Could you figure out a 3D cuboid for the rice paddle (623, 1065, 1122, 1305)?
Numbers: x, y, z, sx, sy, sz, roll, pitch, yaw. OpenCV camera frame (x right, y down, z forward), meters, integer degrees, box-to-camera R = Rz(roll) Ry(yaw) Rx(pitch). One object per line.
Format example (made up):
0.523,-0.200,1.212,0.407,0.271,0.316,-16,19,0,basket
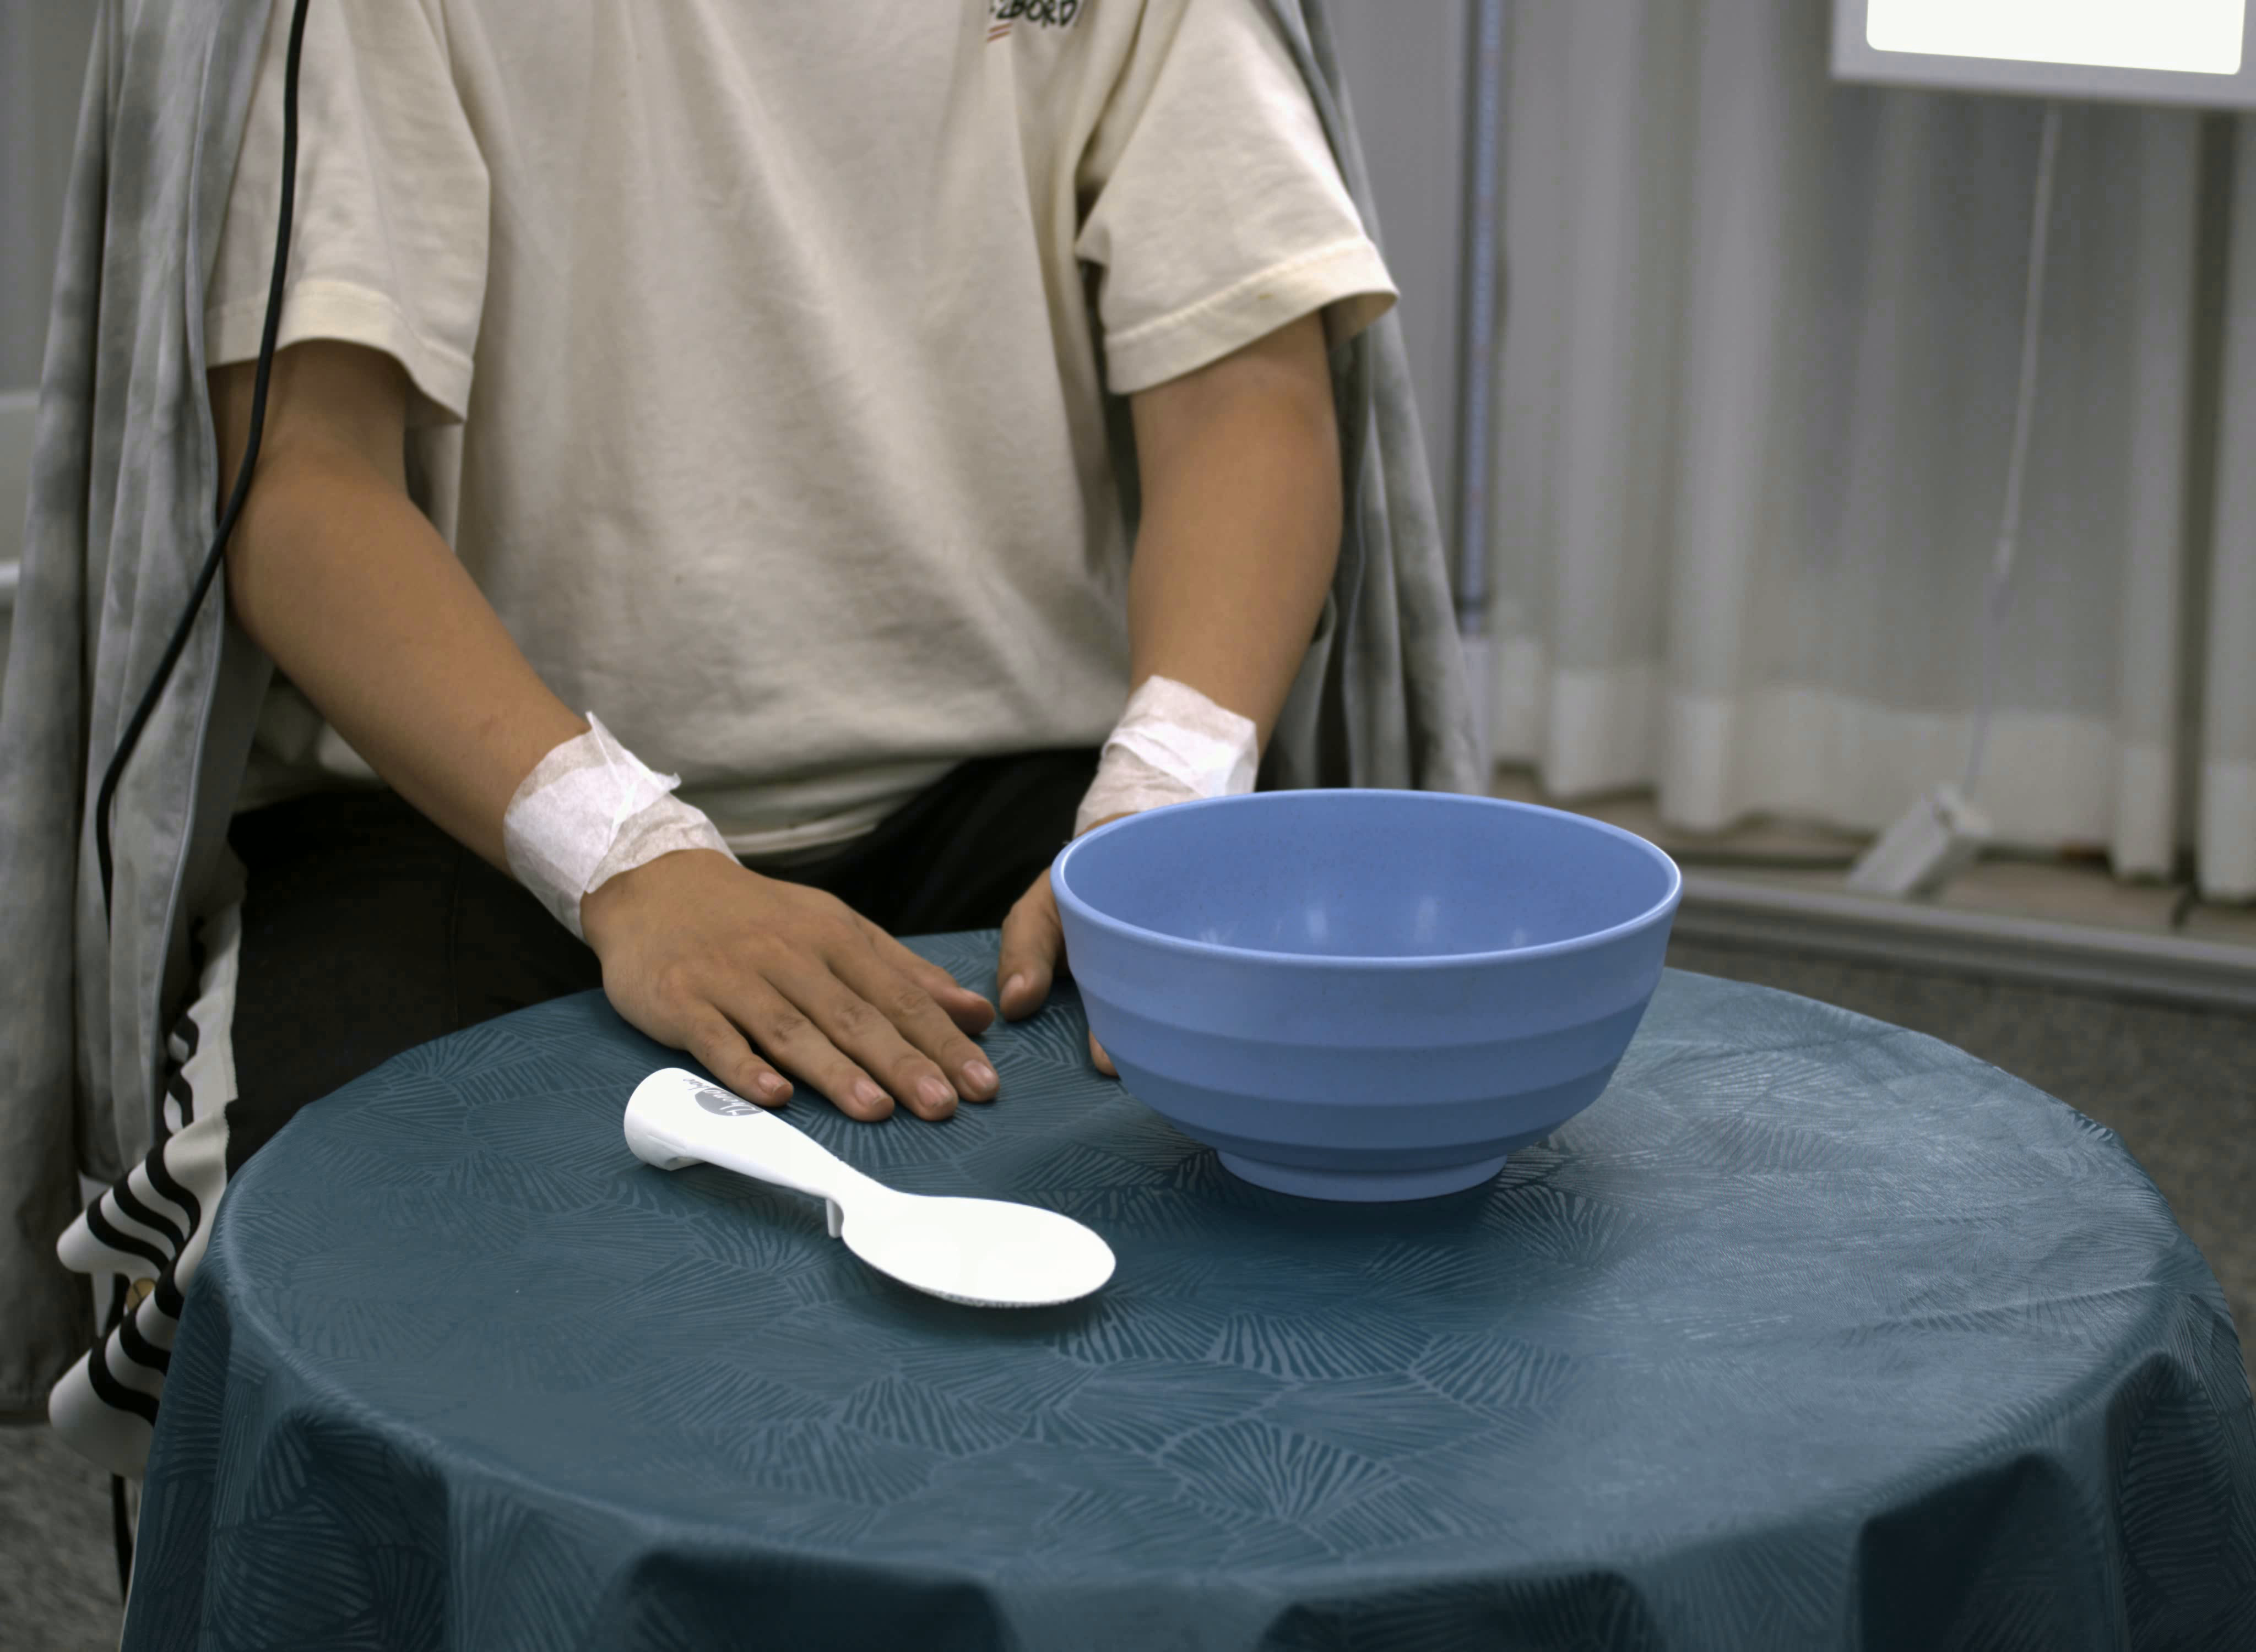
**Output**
-0.079,0.109,1.576,0.069,0.029,0.202,-15,22,-39,rice paddle

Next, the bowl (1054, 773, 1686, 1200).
0.074,0.056,1.648,0.196,0.096,0.195,1,18,0,bowl
